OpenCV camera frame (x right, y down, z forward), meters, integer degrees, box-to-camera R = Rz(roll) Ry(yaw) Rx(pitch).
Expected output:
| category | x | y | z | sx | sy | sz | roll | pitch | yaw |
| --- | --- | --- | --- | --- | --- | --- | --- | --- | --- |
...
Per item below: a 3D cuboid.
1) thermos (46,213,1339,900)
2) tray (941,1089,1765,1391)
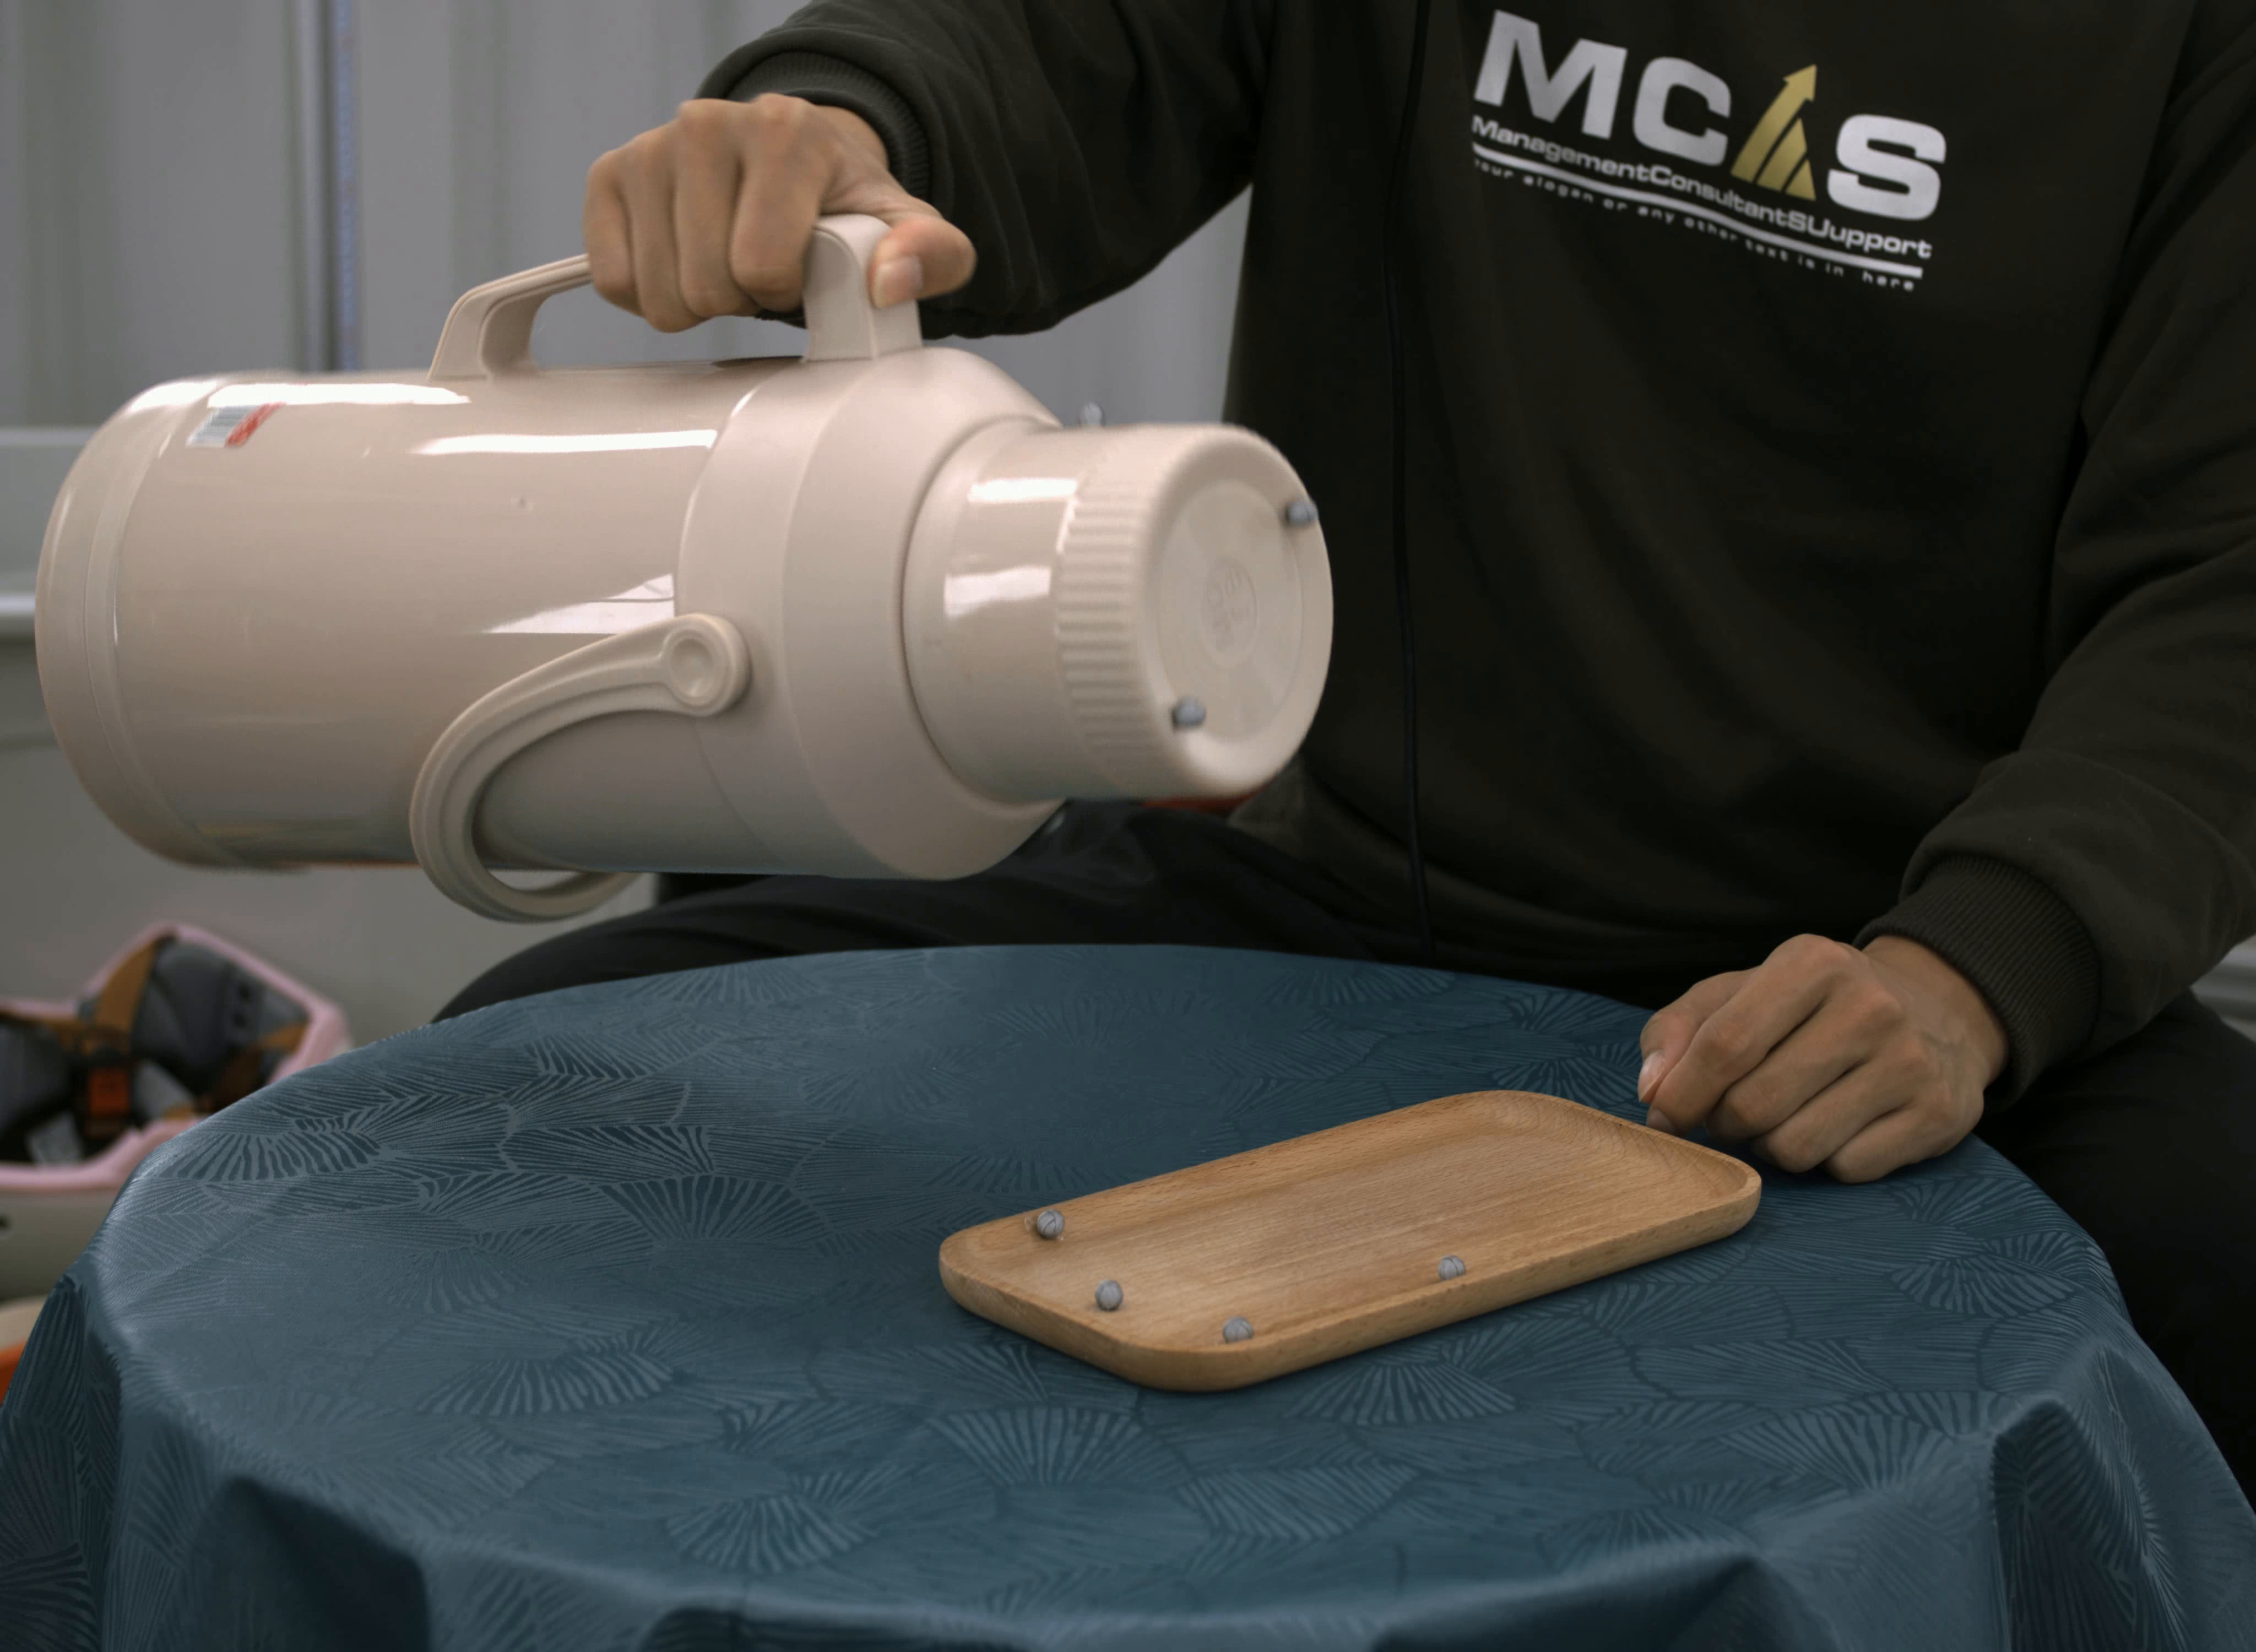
| category | x | y | z | sx | sy | sz | roll | pitch | yaw |
| --- | --- | --- | --- | --- | --- | --- | --- | --- | --- |
| thermos | -0.132 | -0.078 | 1.587 | 0.401 | 0.208 | 0.176 | 3 | 14 | 35 |
| tray | 0.070 | 0.121 | 1.573 | 0.252 | 0.023 | 0.129 | -11 | 22 | -39 |
